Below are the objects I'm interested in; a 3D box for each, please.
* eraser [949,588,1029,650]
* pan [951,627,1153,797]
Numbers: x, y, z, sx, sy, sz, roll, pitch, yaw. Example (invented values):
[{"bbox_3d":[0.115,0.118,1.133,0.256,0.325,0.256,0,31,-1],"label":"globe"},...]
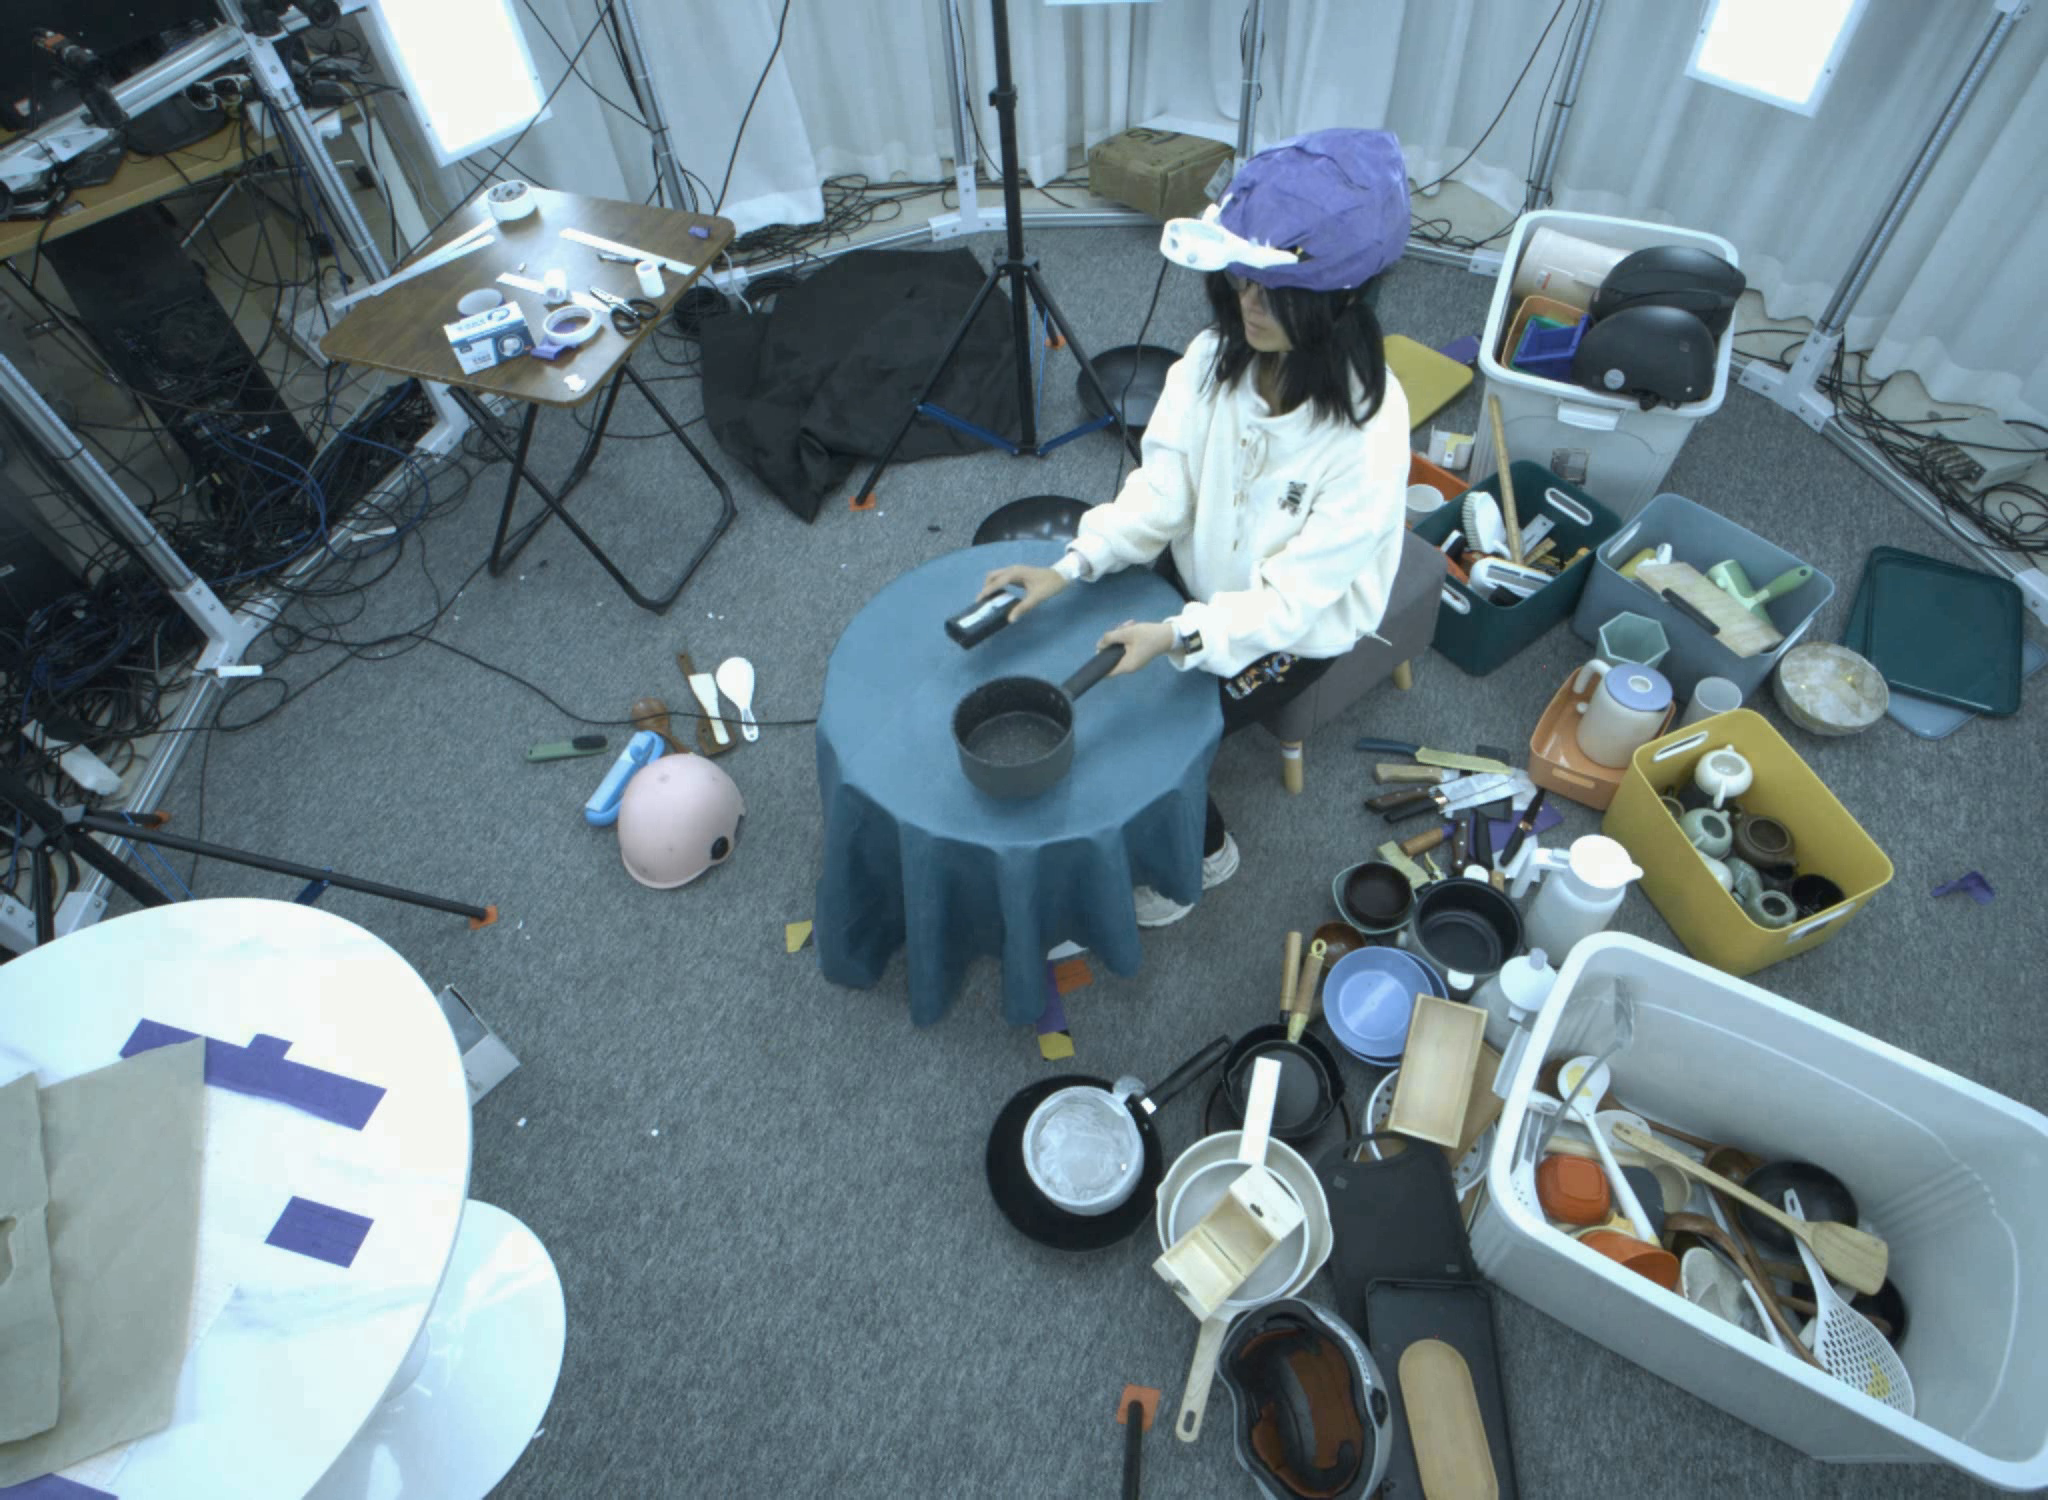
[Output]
[{"bbox_3d":[-0.054,-0.199,1.854,0.052,0.030,0.127,36,51,23],"label":"eraser"},{"bbox_3d":[0.050,-0.061,1.730,0.331,0.087,0.168,-34,55,-21],"label":"pan"}]
